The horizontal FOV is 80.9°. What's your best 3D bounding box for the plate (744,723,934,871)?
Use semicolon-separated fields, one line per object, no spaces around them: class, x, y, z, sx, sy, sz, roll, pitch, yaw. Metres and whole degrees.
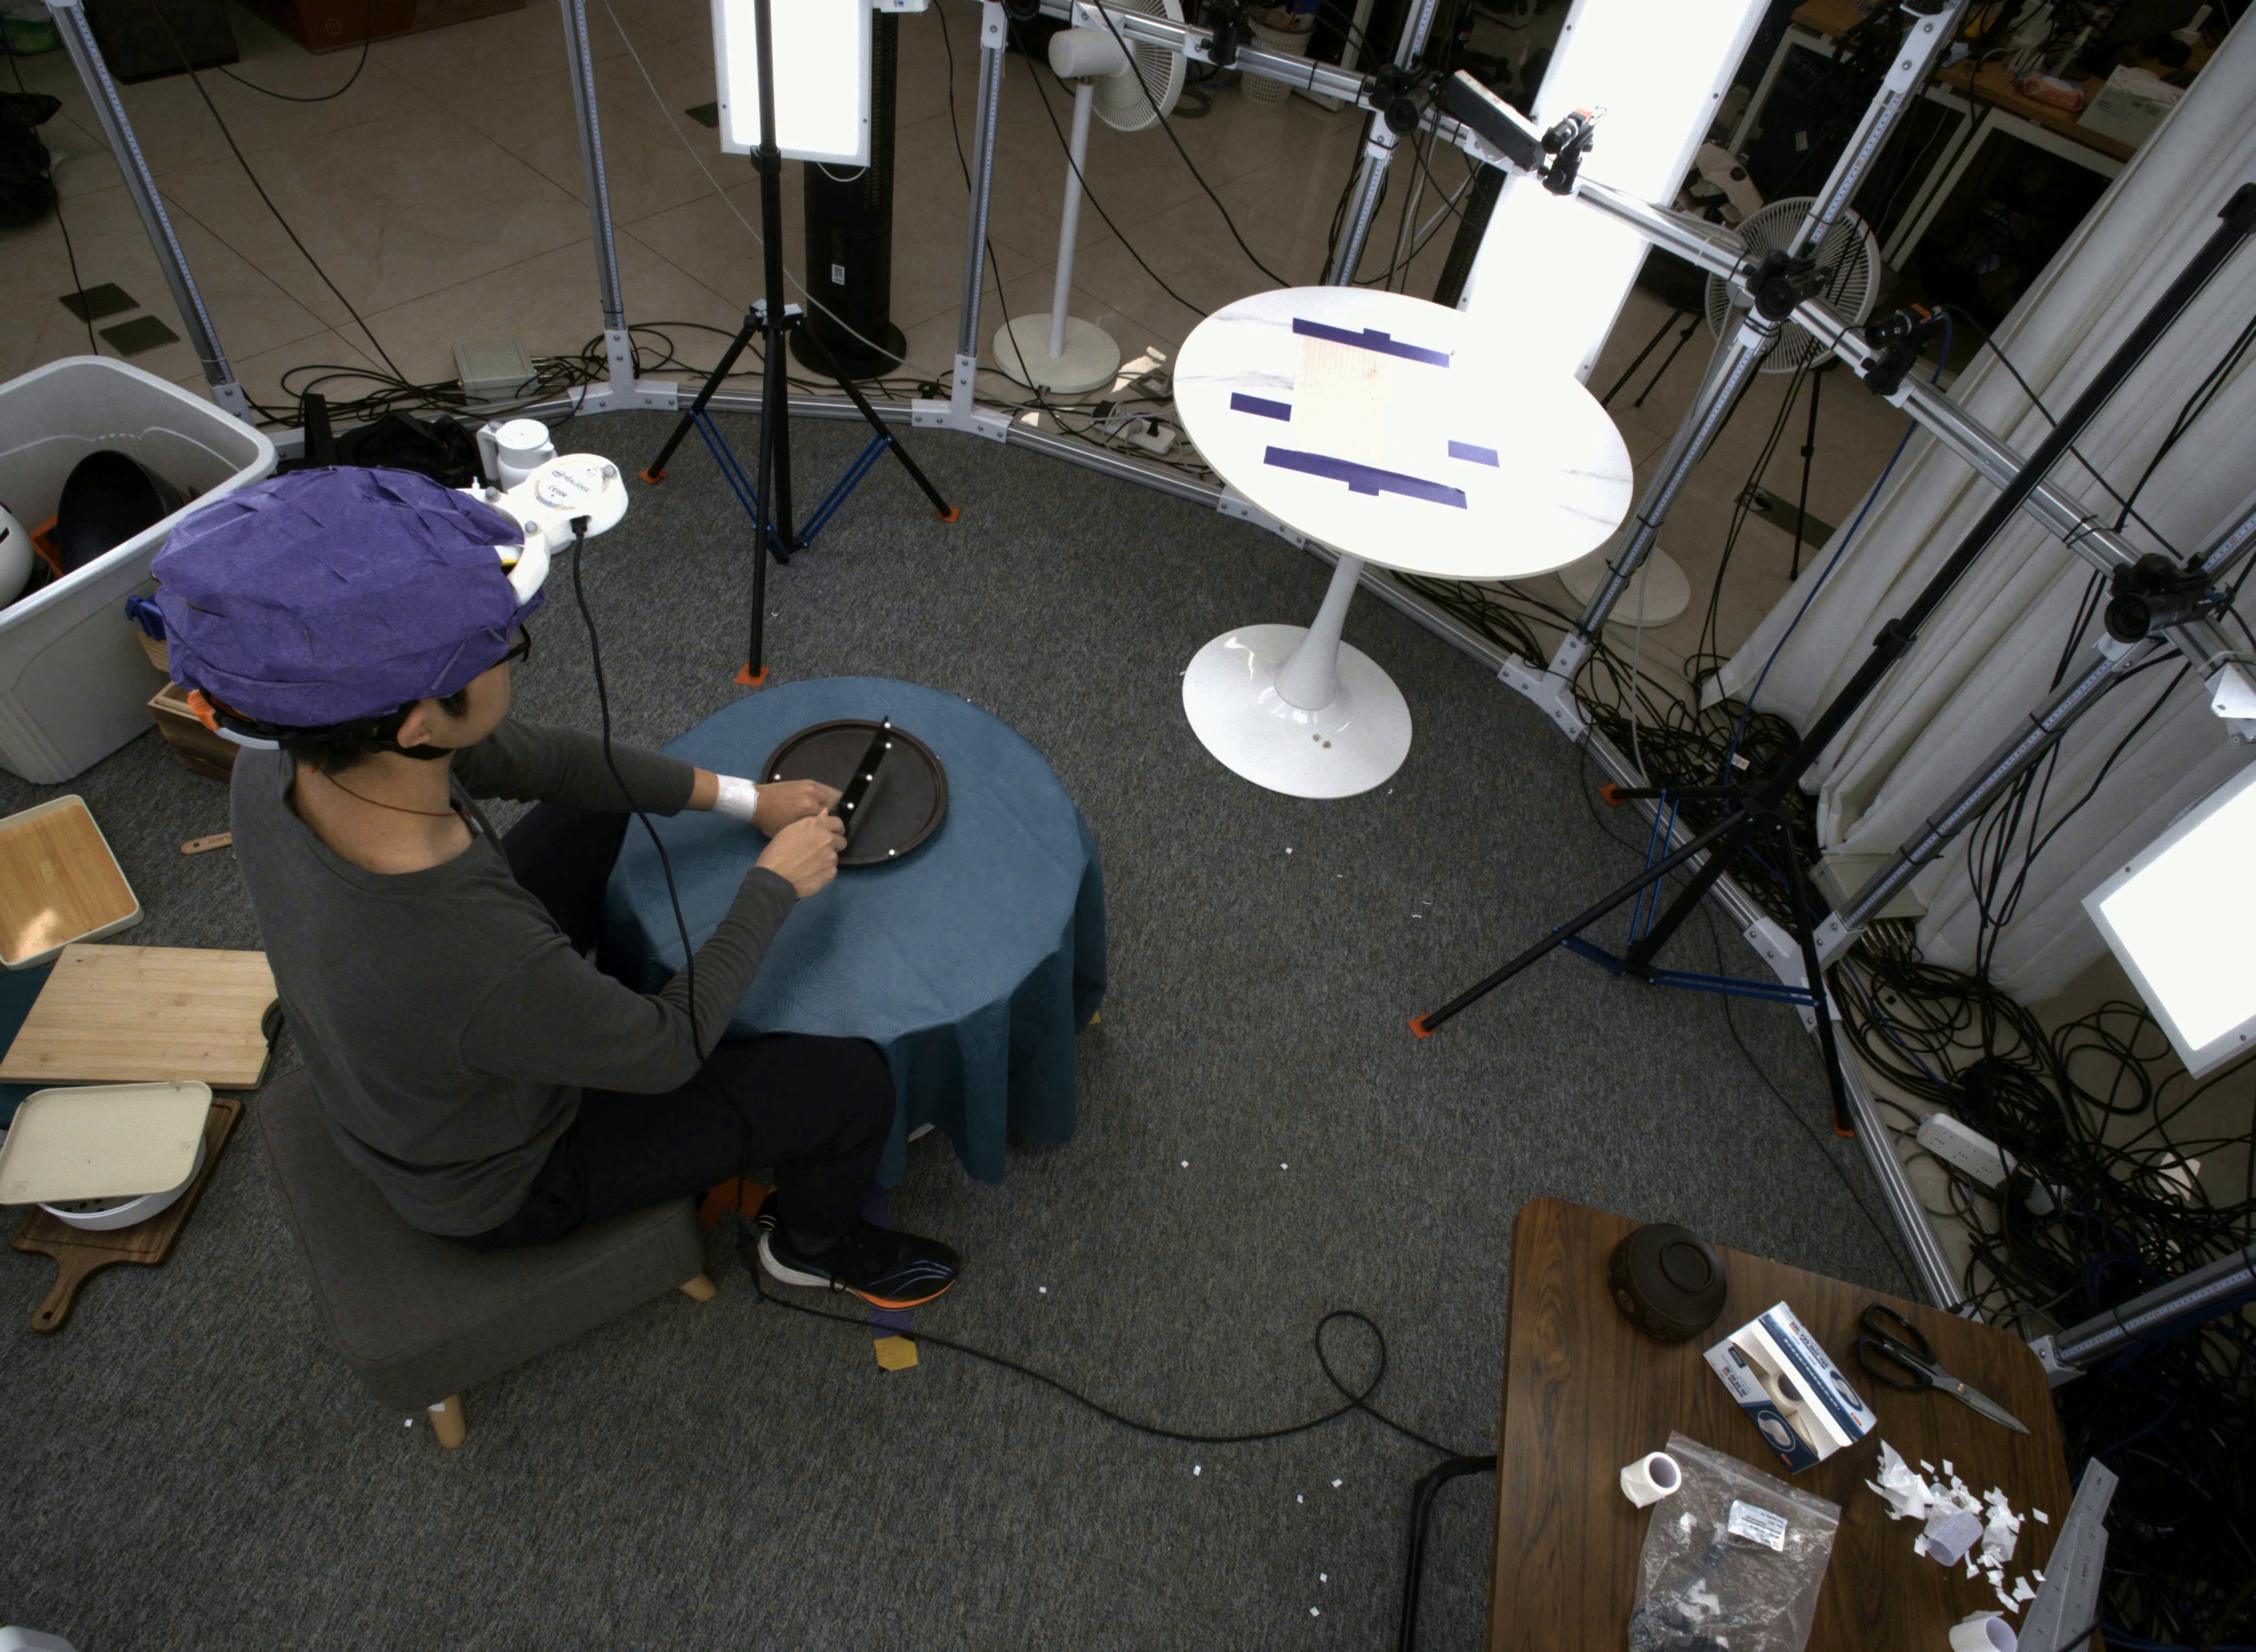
plate;-0.390;-0.042;1.761;0.254;0.029;0.250;8;53;-9

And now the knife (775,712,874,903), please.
knife;-0.383;-0.024;1.661;0.020;0.083;0.299;14;48;6
